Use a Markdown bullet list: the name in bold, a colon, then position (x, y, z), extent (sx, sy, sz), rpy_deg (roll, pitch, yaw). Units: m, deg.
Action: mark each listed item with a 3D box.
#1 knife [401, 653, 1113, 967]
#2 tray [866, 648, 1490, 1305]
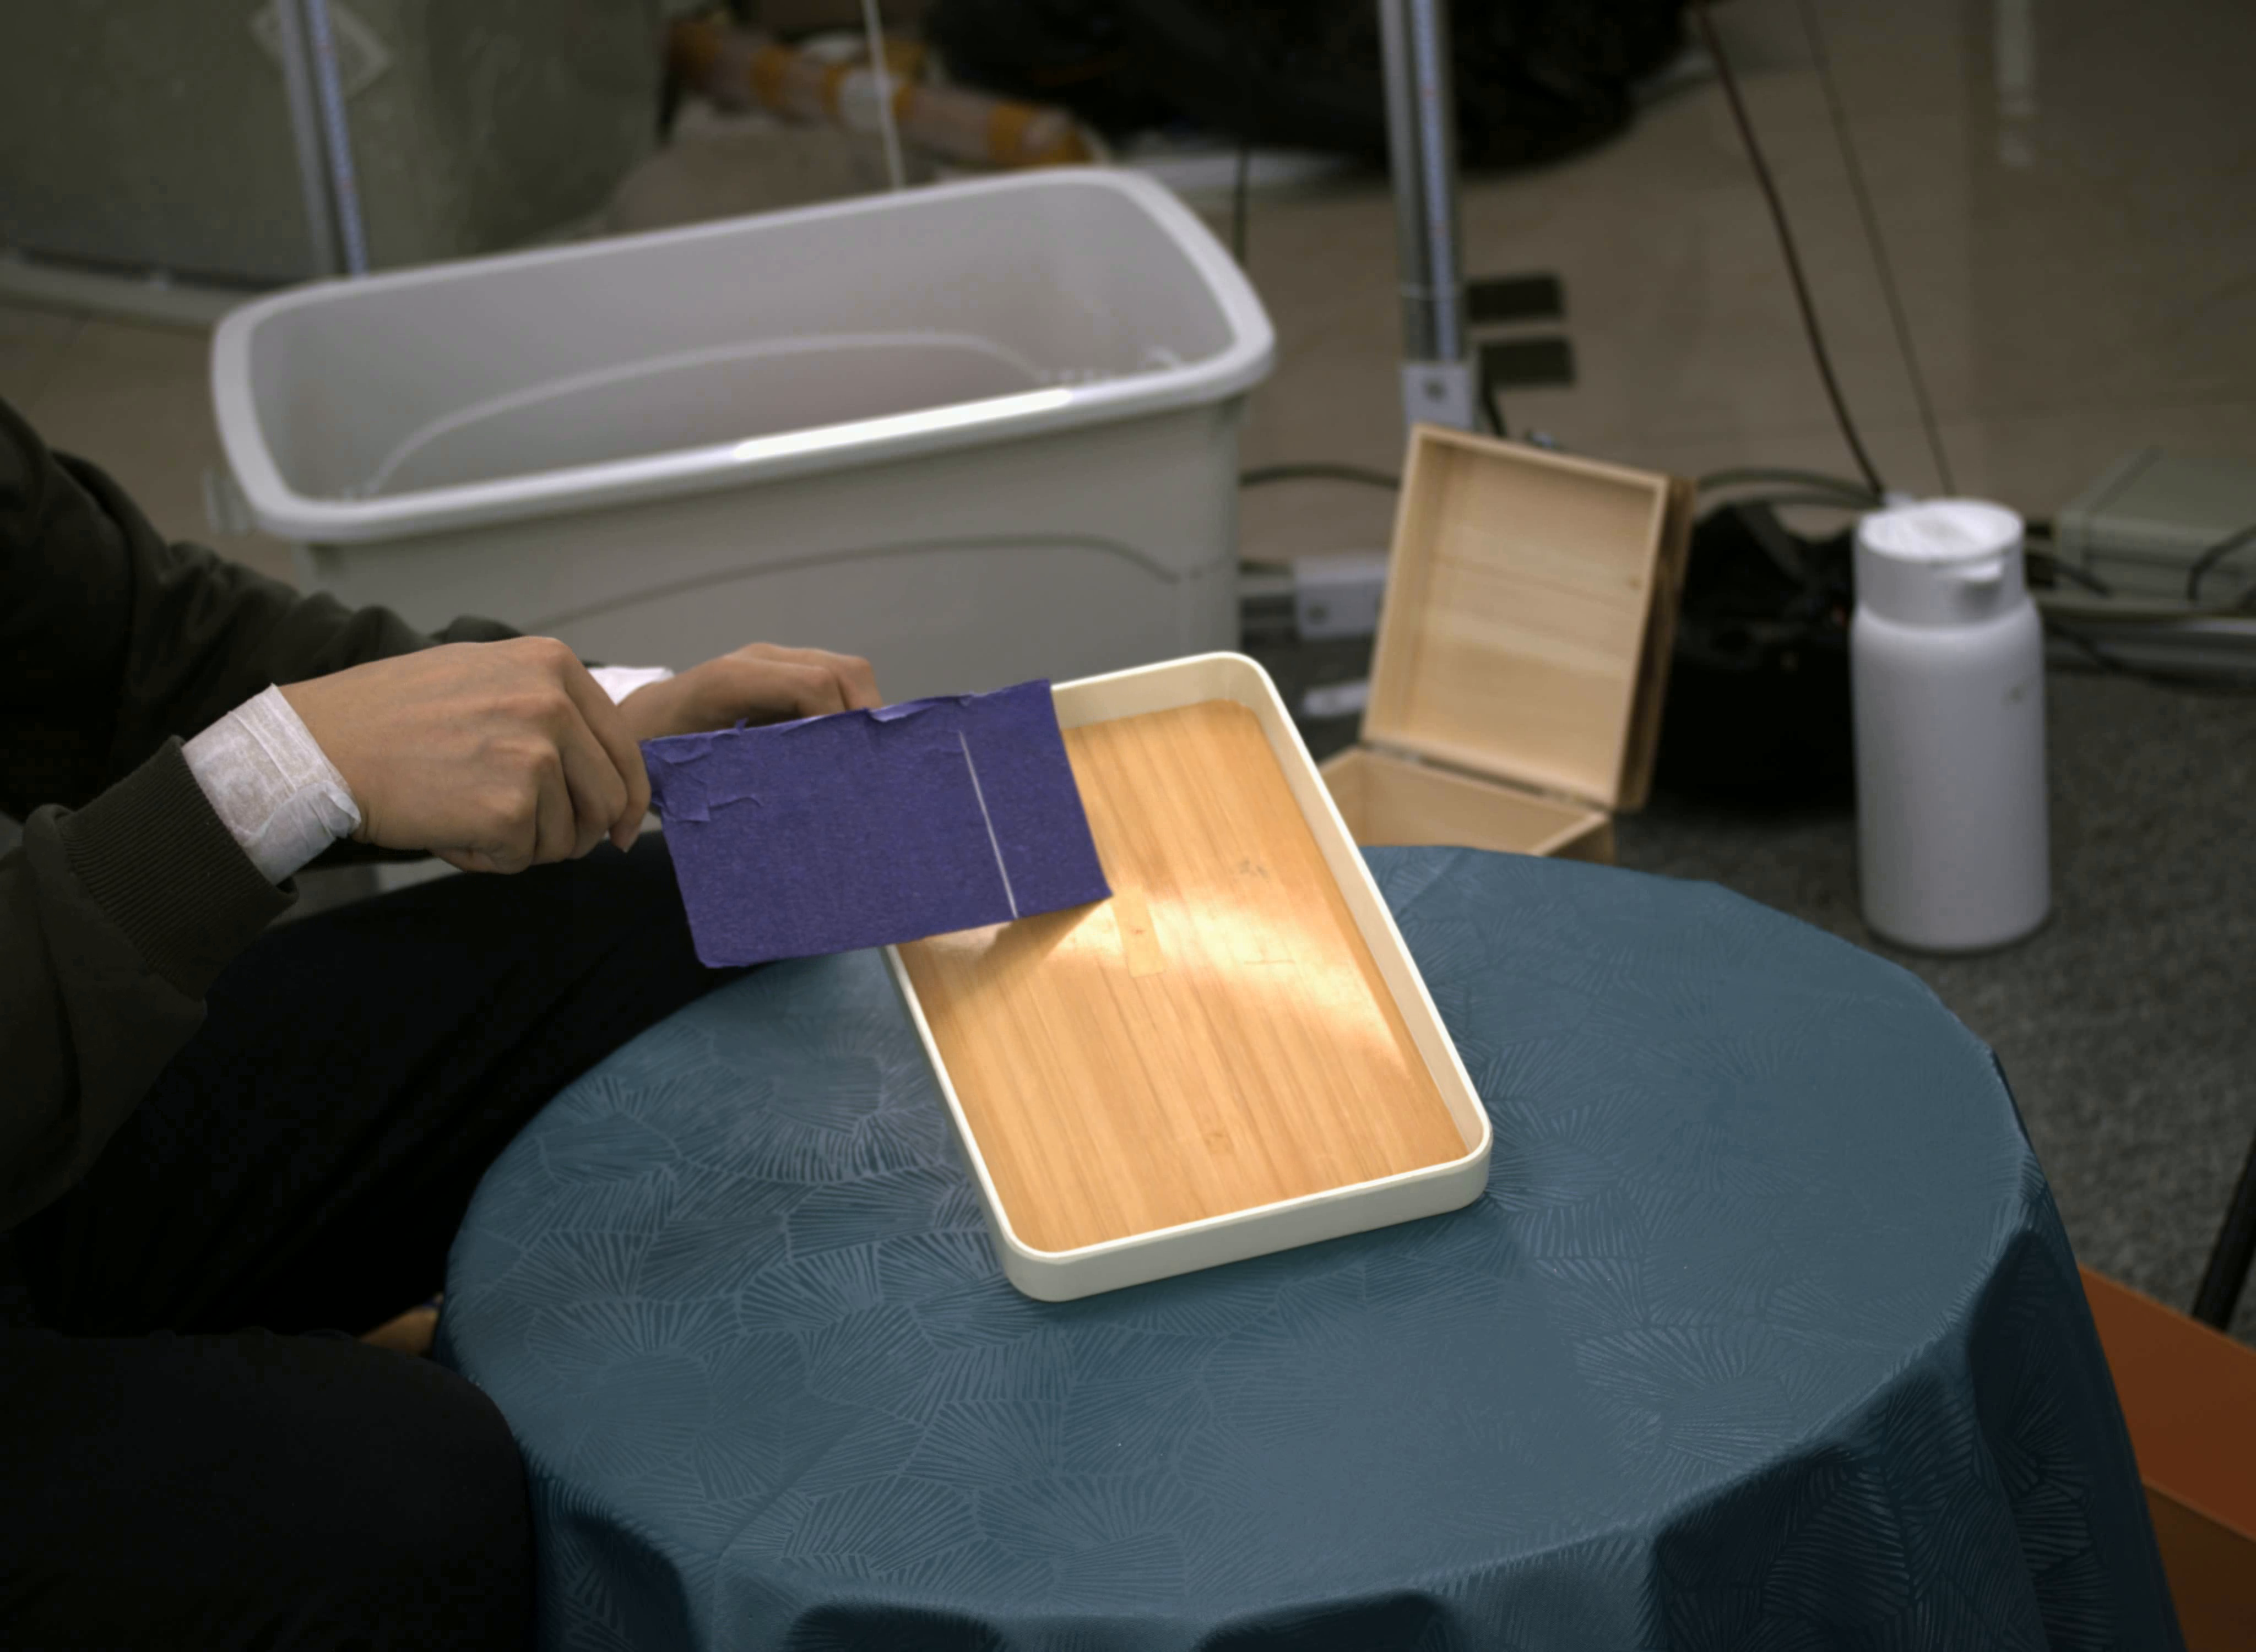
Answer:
- **knife**: position (-0.127, 0.002, 2.119), extent (0.314, 0.103, 0.032), rpy_deg (-11, -8, -40)
- **tray**: position (0.004, 0.052, 2.187), extent (0.191, 0.028, 0.295), rpy_deg (-13, 46, -12)
